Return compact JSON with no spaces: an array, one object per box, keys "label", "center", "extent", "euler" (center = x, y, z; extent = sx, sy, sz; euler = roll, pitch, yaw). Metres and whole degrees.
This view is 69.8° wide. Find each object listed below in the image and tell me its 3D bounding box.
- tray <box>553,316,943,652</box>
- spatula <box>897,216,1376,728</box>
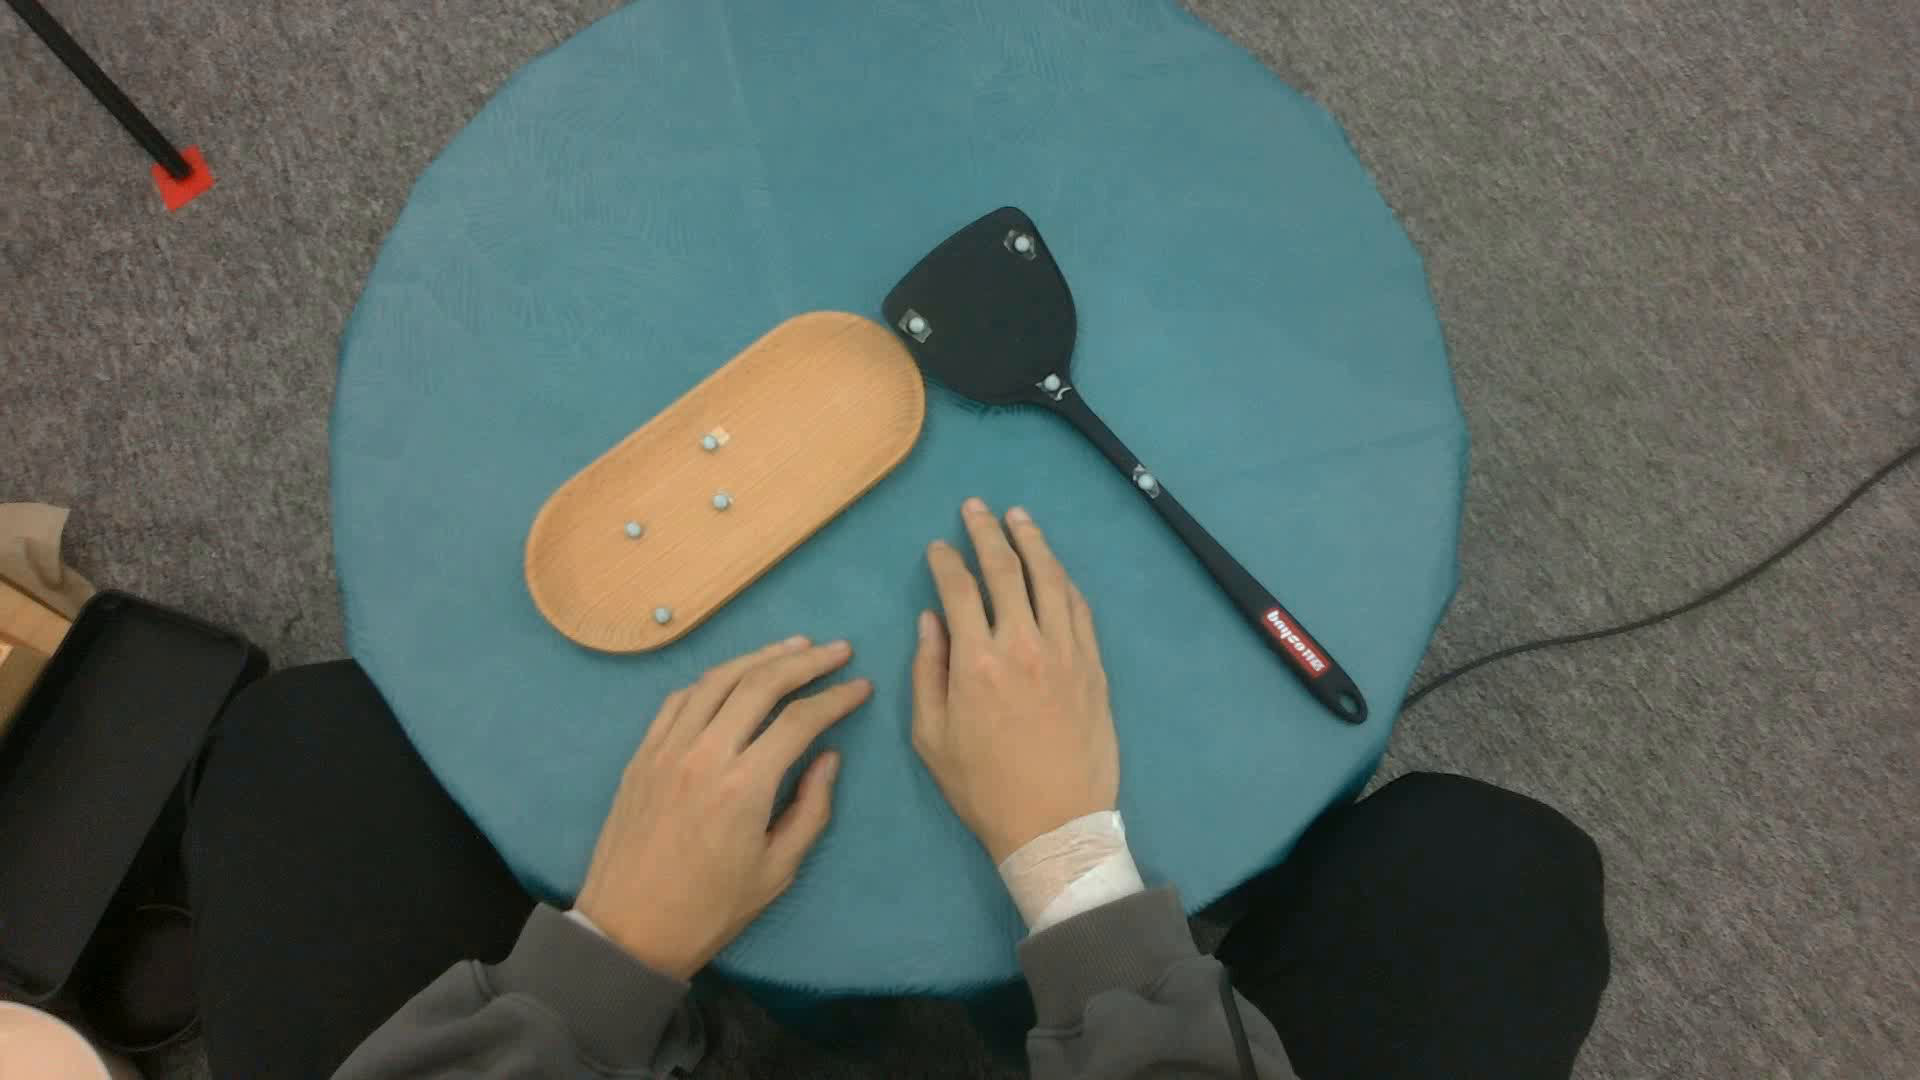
[{"label":"tray","center":[-0.110,-0.031,0.729],"extent":[0.231,0.020,0.102],"euler":[-39,77,-12]},{"label":"spatula","center":[0.103,-0.029,0.719],"extent":[0.100,0.040,0.326],"euler":[-40,77,-10]}]
